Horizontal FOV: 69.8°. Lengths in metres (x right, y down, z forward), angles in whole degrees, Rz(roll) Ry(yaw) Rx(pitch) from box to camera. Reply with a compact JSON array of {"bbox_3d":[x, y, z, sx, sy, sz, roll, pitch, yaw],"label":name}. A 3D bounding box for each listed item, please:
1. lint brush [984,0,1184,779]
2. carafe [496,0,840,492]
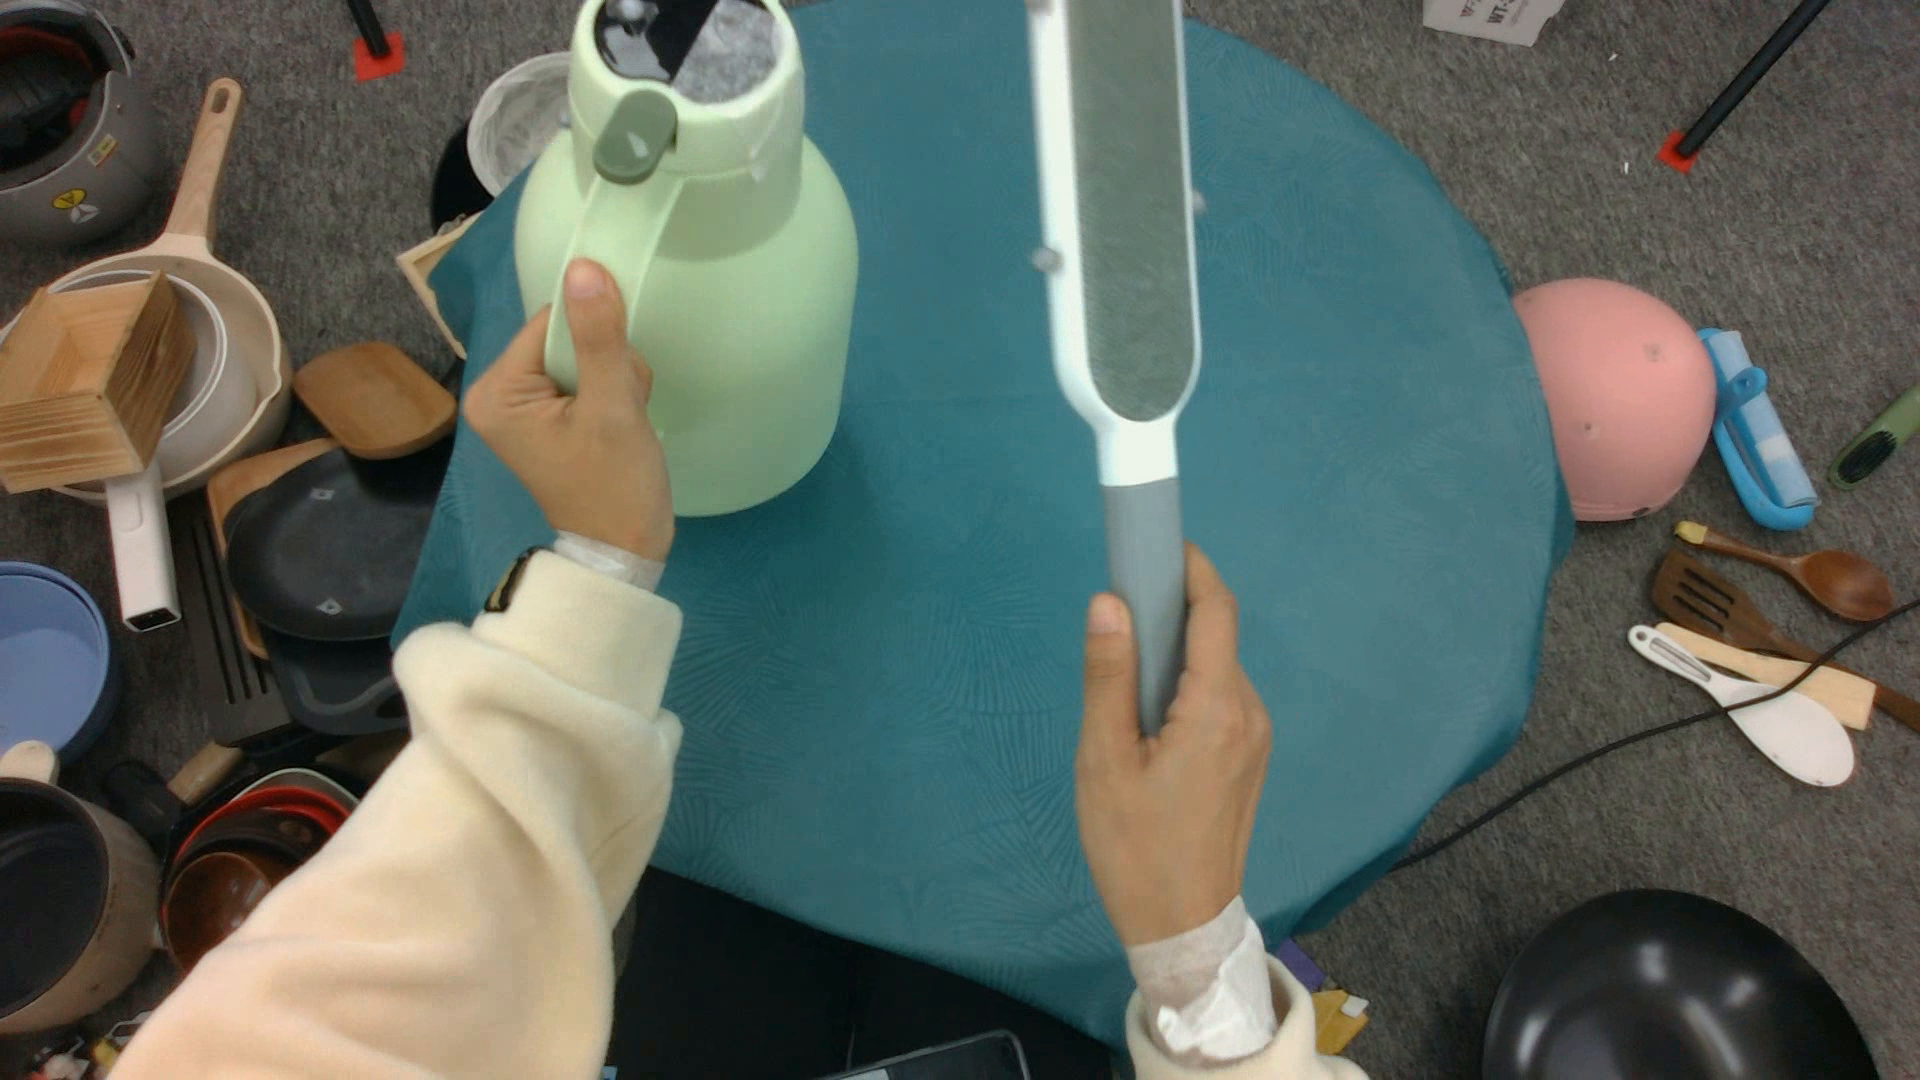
[{"bbox_3d":[0.045,-0.068,0.446,0.060,0.021,0.308,-16,103,-38],"label":"lint brush"},{"bbox_3d":[-0.125,-0.118,0.573,0.144,0.255,0.187,19,68,-4],"label":"carafe"}]
